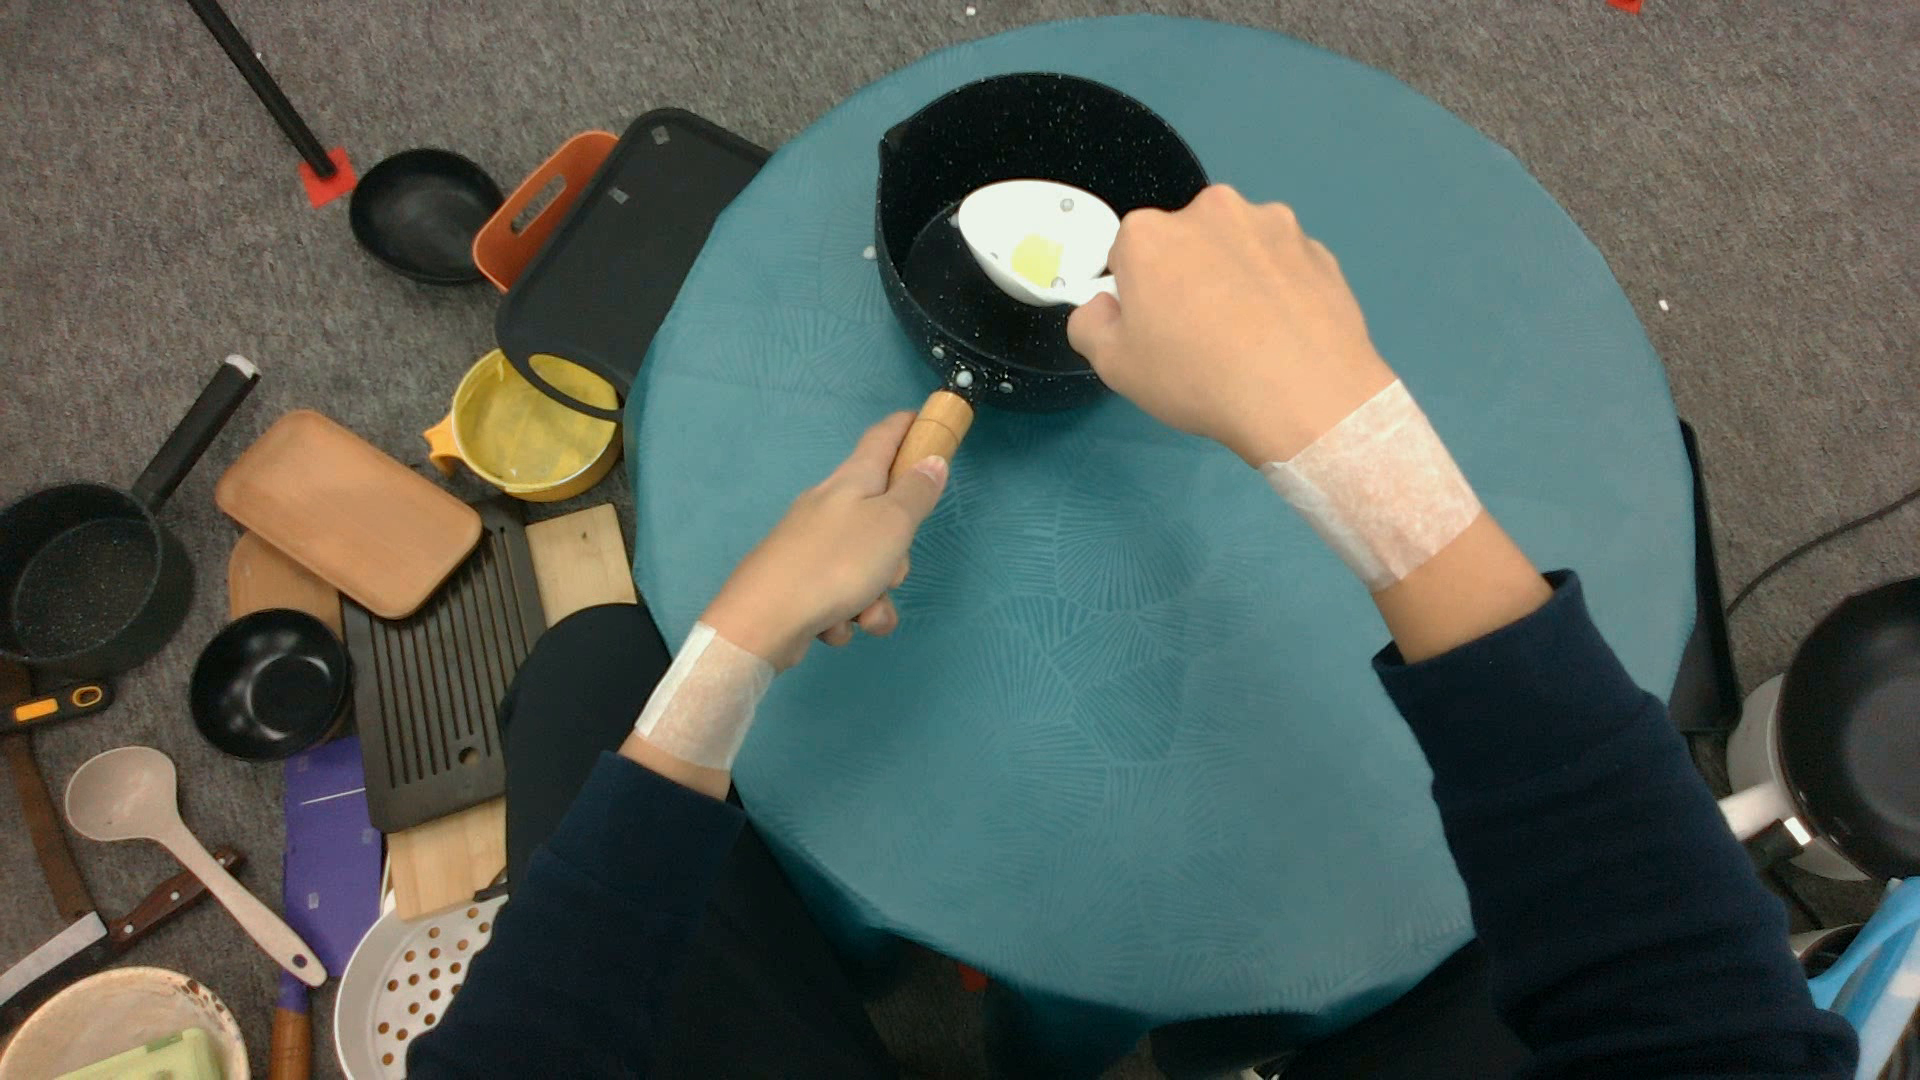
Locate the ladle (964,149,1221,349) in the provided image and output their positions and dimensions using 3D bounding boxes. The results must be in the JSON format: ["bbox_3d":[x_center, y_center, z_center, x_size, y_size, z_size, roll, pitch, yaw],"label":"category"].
[{"bbox_3d":[0.061,-0.142,0.638,0.090,0.293,0.070,8,104,-11],"label":"ladle"}]

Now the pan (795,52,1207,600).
[{"bbox_3d":[0.003,-0.102,0.721,0.207,0.108,0.344,25,67,0],"label":"pan"}]
